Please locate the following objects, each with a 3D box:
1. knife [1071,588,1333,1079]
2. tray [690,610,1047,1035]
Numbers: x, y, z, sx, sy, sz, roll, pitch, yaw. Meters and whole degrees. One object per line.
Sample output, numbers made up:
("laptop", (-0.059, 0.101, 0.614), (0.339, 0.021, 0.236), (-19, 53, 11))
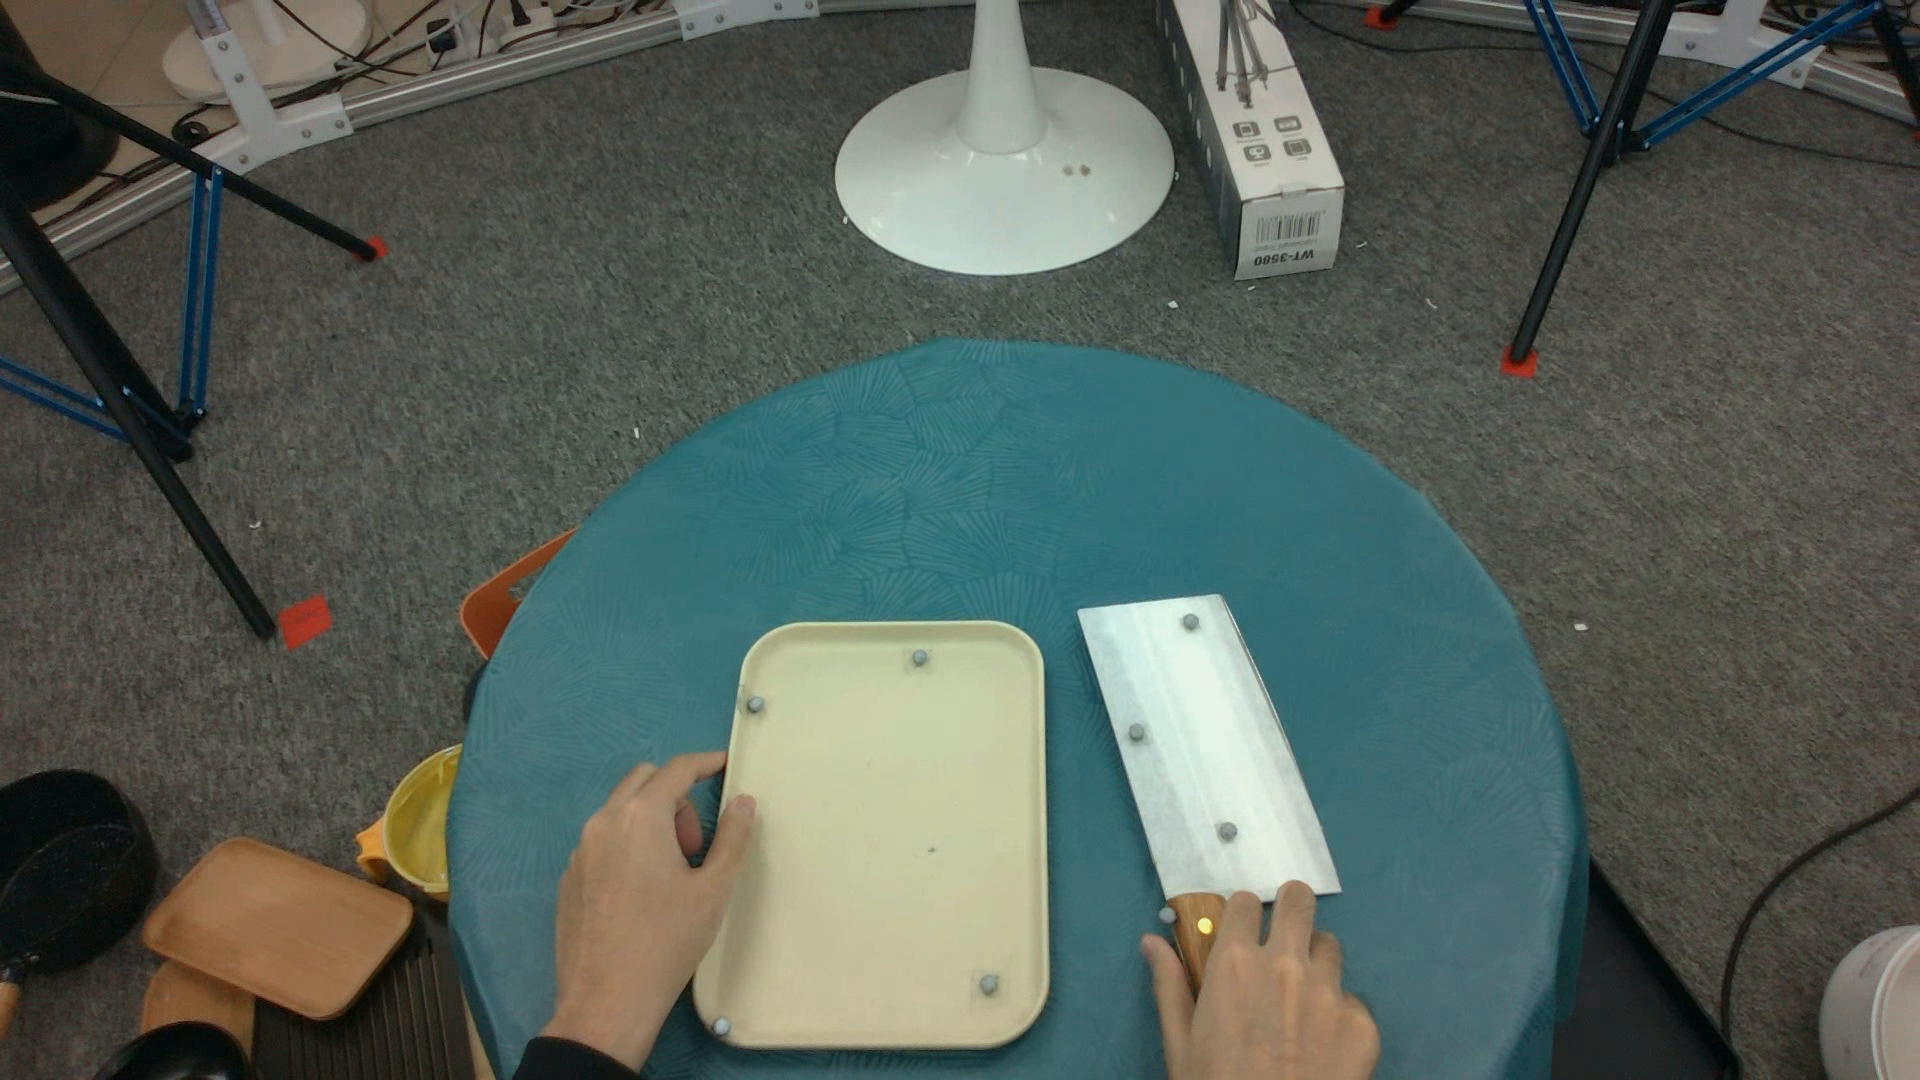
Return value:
("knife", (0.135, 0.145, 0.699), (0.093, 0.021, 0.307), (-6, 50, -11))
("tray", (-0.042, 0.137, 0.712), (0.171, 0.017, 0.241), (0, 51, 2))
